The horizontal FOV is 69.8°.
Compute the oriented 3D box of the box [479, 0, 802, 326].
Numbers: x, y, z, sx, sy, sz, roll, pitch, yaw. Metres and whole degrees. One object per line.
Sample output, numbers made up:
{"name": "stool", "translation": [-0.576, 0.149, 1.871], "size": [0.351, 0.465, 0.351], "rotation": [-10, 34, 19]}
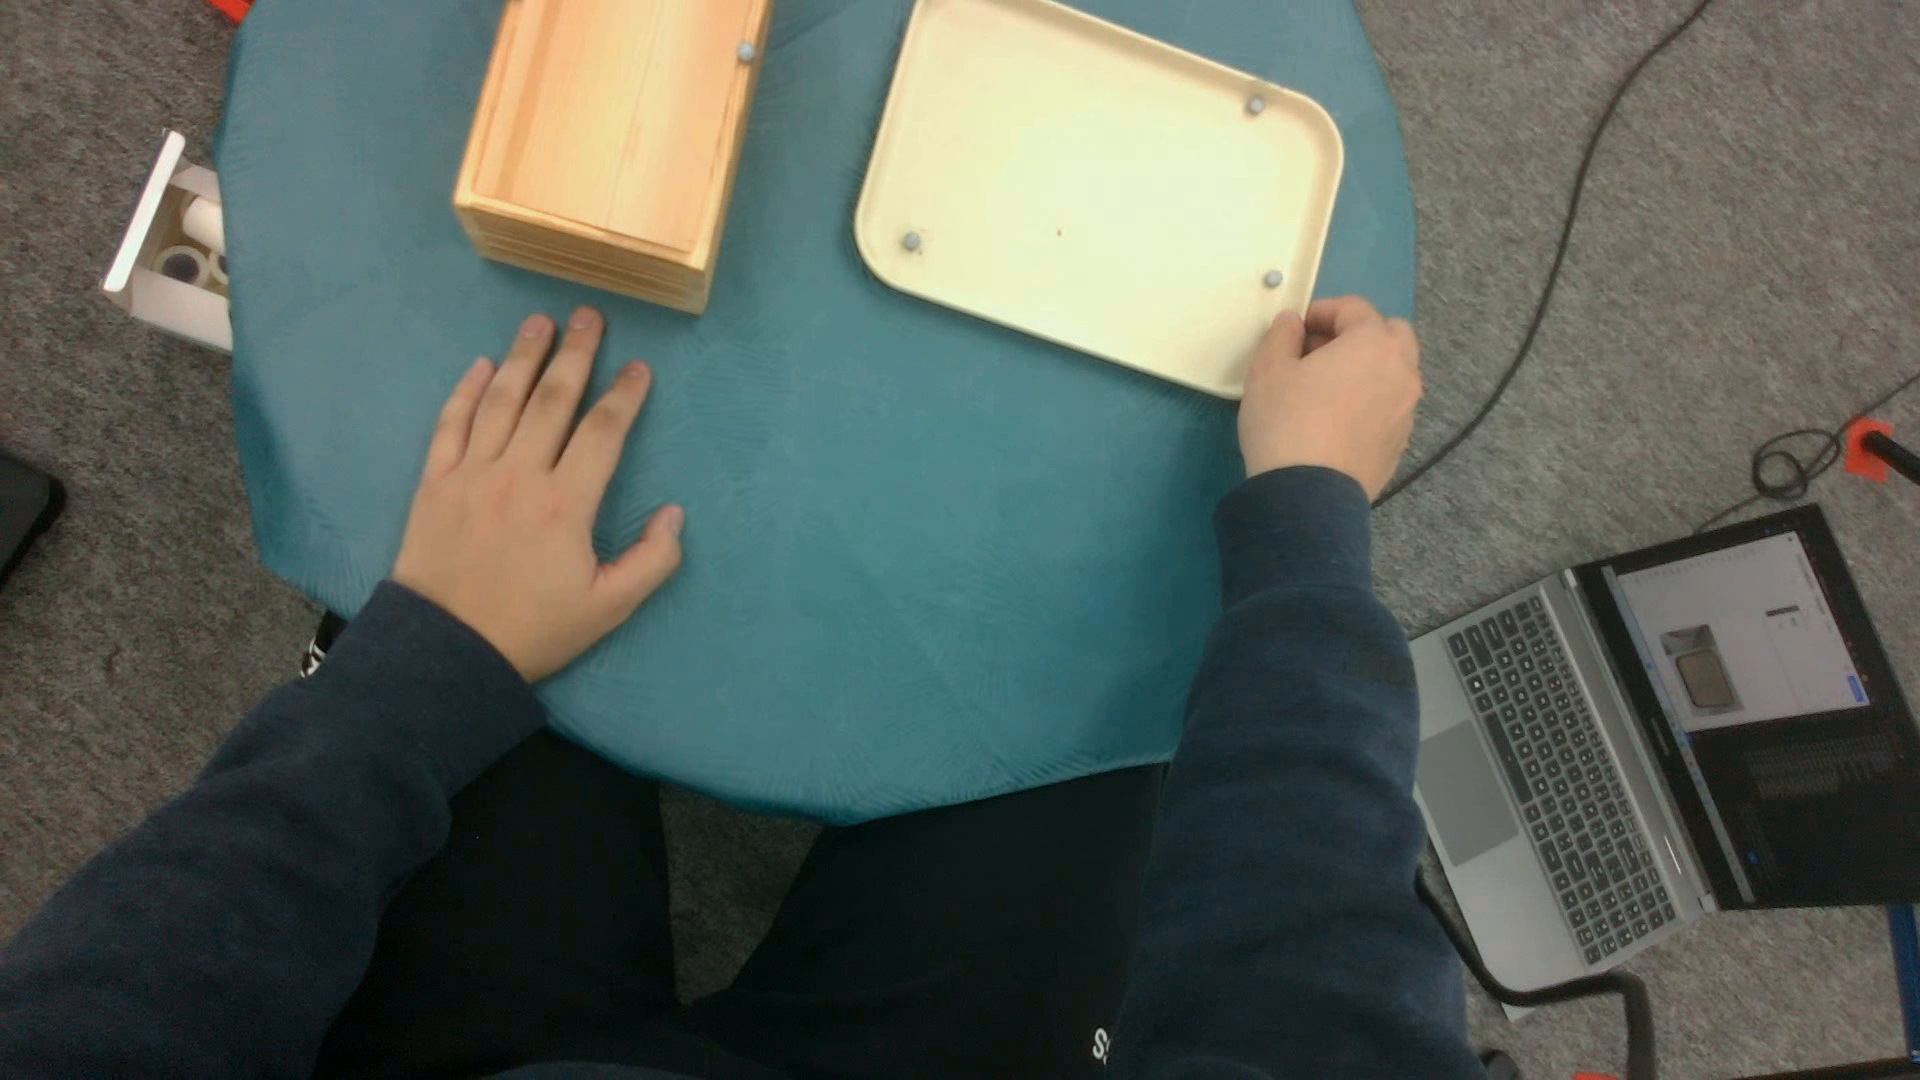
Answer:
{"name": "box", "translation": [-0.142, -0.222, 0.655], "size": [0.107, 0.080, 0.211], "rotation": [13, 82, -9]}

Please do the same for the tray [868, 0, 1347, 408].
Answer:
{"name": "tray", "translation": [0.080, -0.175, 0.724], "size": [0.240, 0.017, 0.171], "rotation": [17, 82, -9]}
